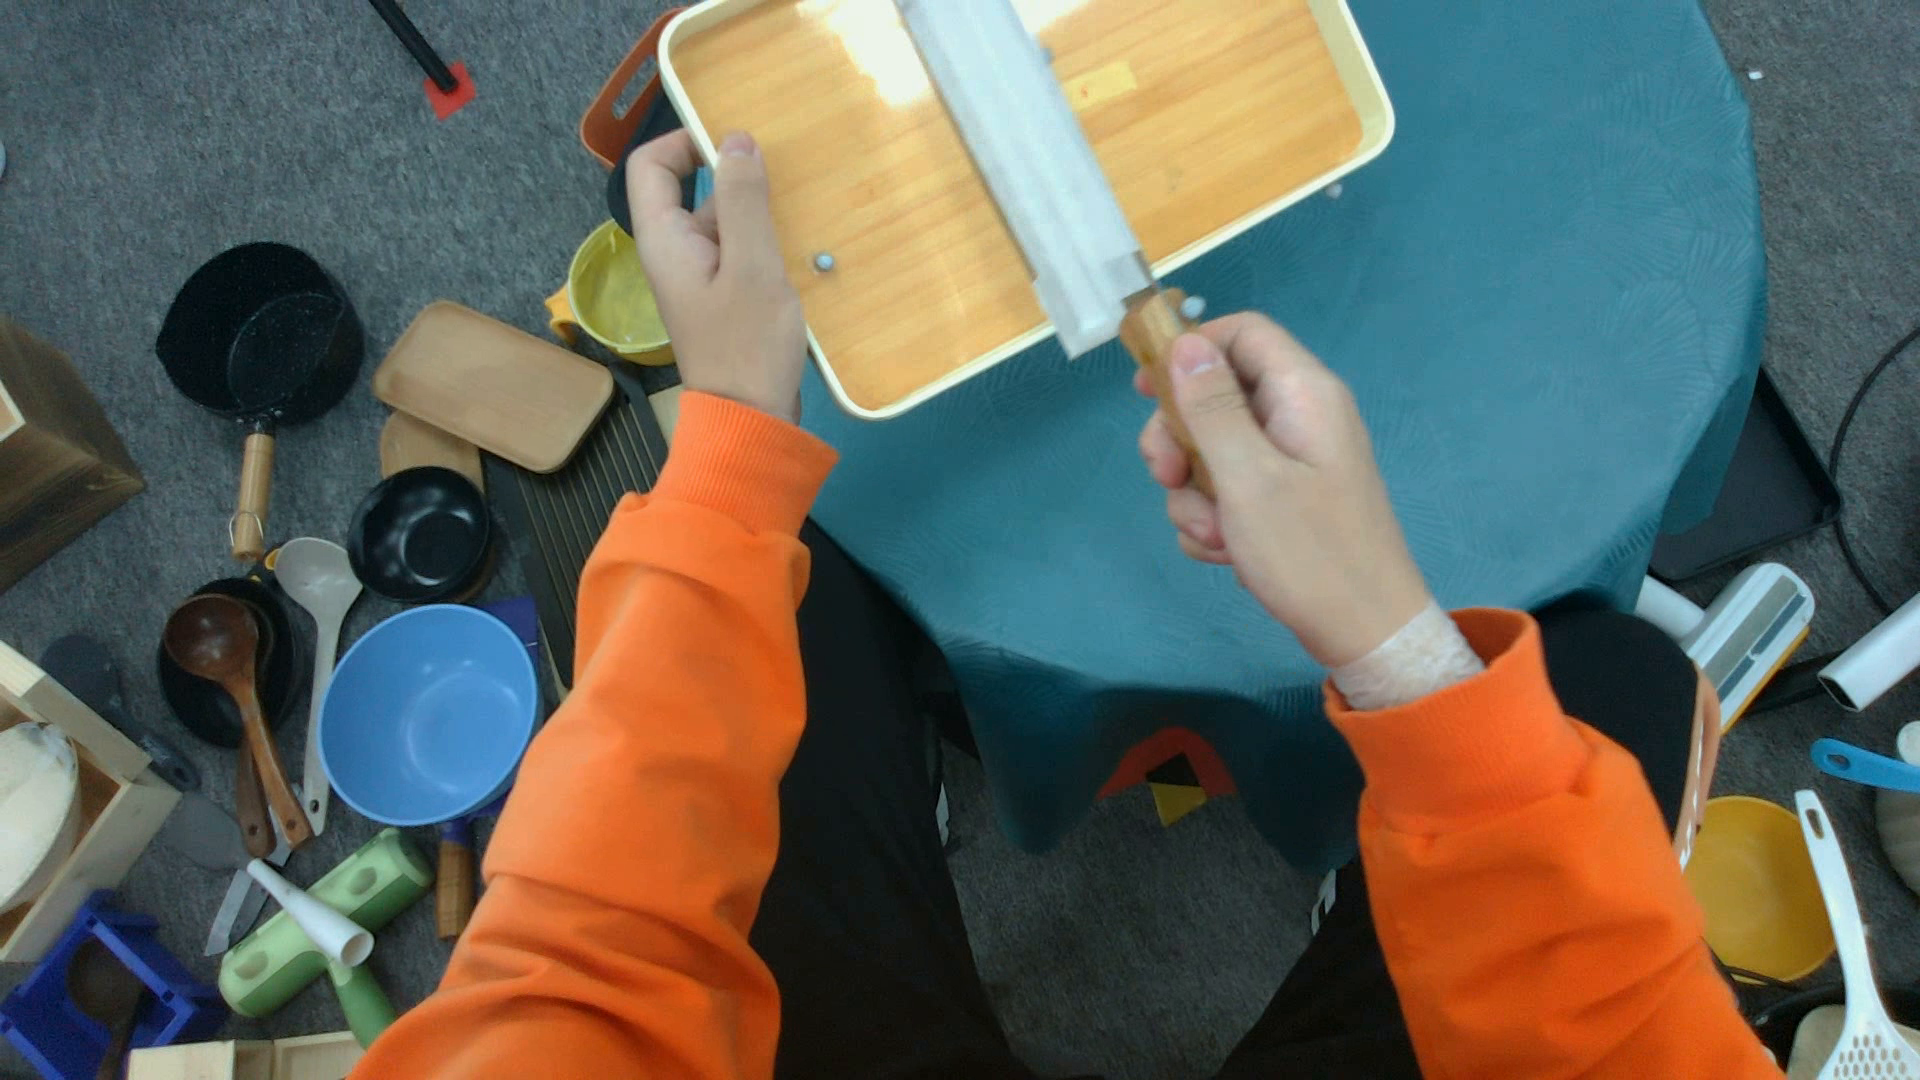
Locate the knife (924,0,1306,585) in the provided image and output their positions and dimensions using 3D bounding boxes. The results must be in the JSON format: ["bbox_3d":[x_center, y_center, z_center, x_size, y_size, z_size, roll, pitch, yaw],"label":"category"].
[{"bbox_3d":[0.045,-0.121,0.522,0.021,0.093,0.305,-28,97,-19],"label":"knife"}]

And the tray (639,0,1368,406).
[{"bbox_3d":[0.028,-0.208,0.630,0.301,0.027,0.191,-30,97,-12],"label":"tray"}]
